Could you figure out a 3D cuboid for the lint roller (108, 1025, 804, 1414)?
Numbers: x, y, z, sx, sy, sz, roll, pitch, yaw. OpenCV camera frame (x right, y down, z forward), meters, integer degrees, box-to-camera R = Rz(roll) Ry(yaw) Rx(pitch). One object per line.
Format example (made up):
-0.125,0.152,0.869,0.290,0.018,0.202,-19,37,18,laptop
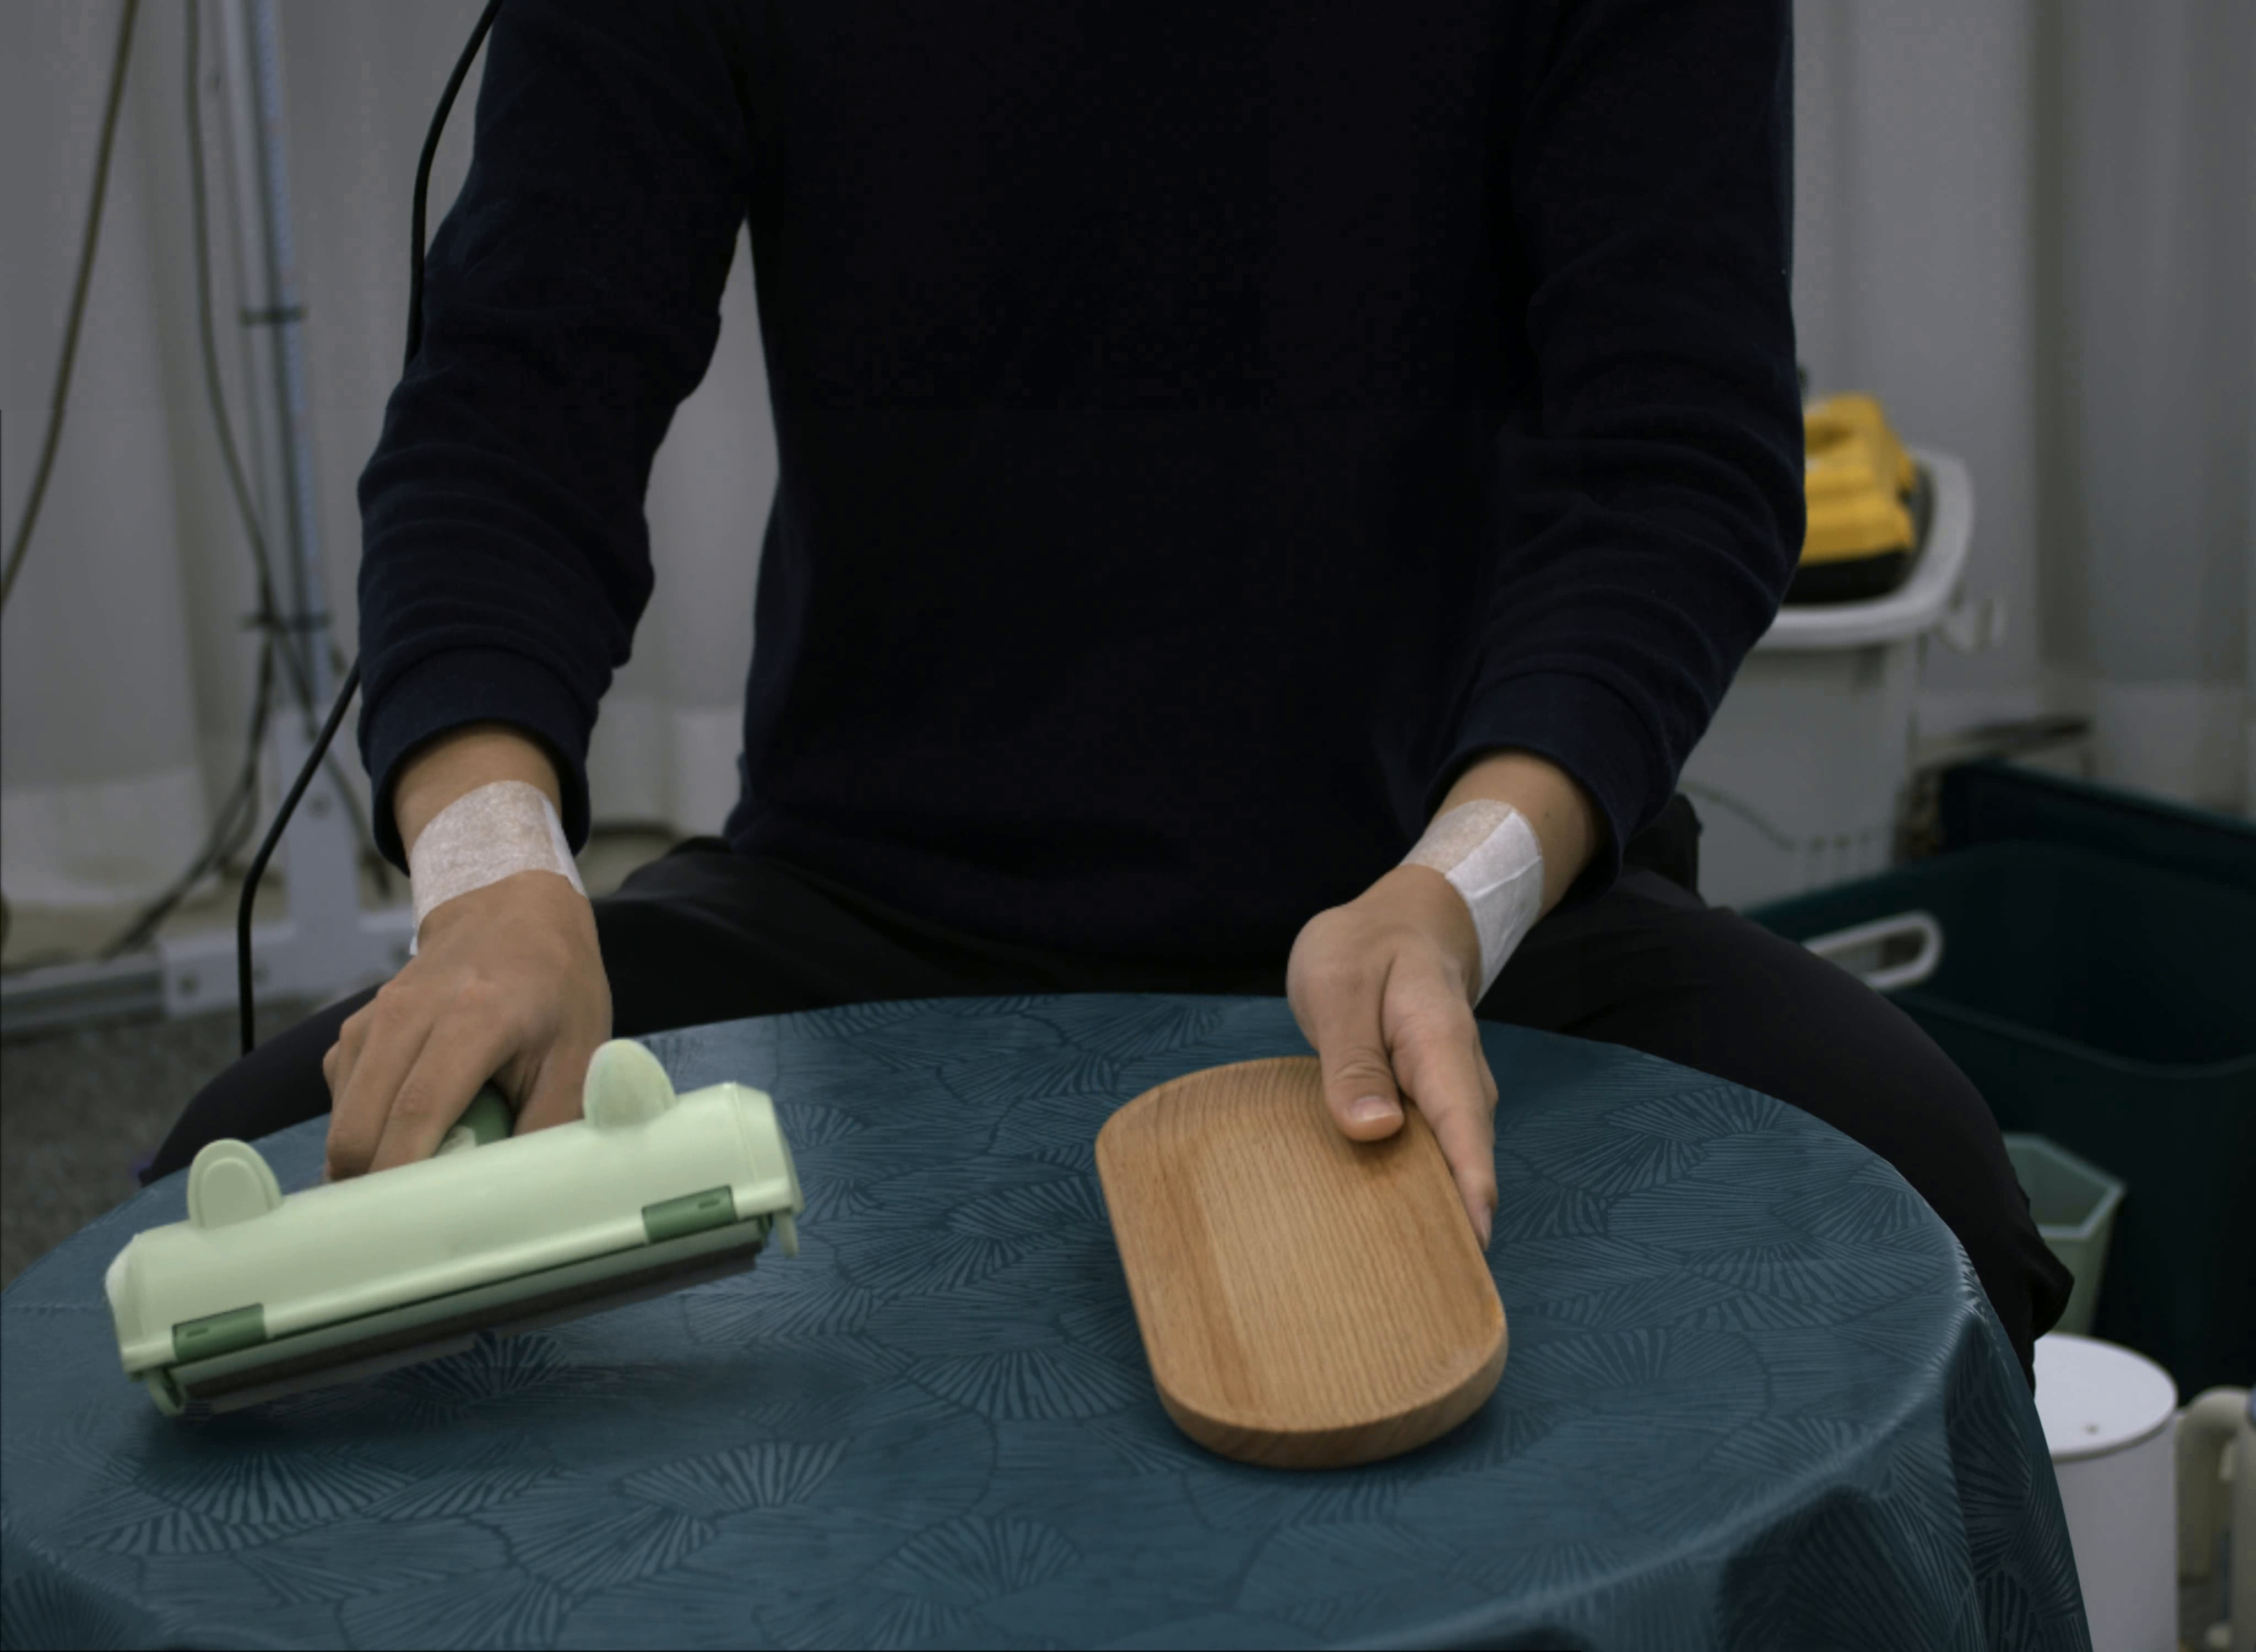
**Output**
-0.203,0.087,1.610,0.198,0.081,0.186,-15,30,-4,lint roller

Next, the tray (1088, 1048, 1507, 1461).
0.047,0.121,1.585,0.101,0.020,0.233,-9,22,-4,tray
